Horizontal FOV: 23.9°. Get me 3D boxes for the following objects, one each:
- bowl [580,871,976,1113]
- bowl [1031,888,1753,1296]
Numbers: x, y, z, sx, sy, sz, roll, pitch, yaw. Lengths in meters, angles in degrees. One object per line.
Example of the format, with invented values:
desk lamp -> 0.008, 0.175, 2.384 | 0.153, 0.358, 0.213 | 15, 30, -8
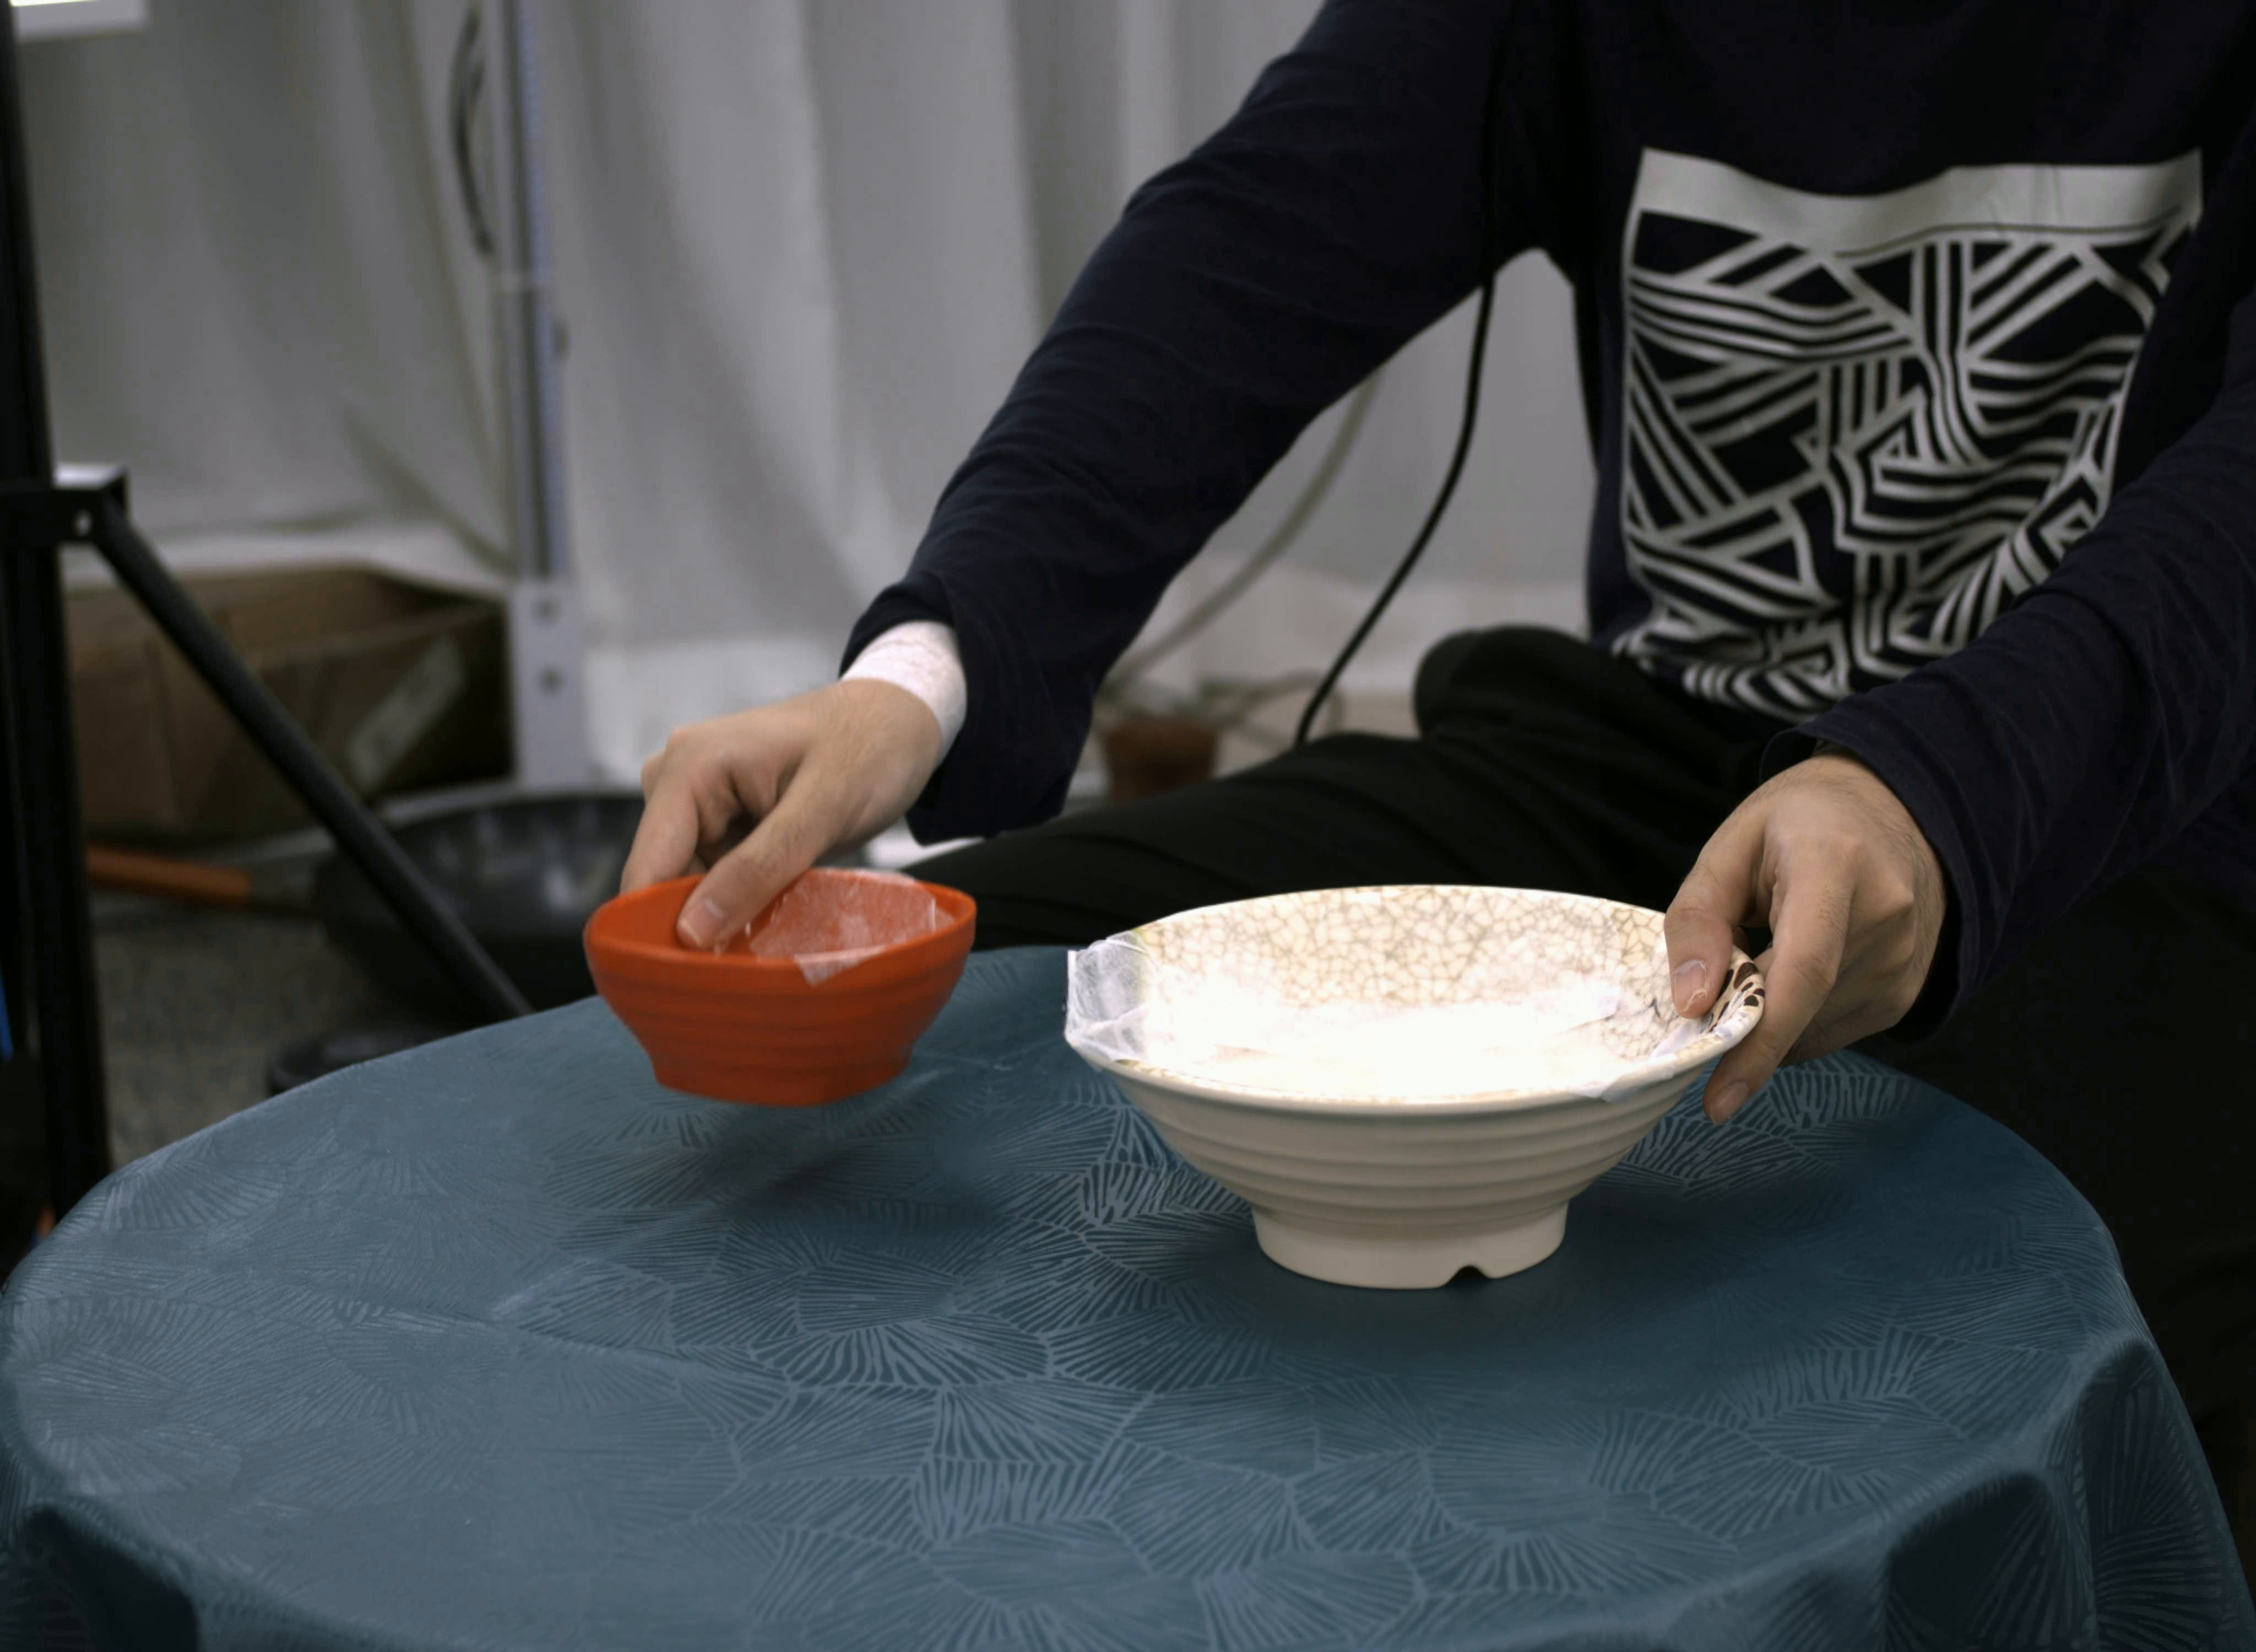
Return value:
bowl -> -0.102, 0.051, 1.583 | 0.118, 0.051, 0.119 | -3, 13, -1
bowl -> 0.073, 0.082, 1.505 | 0.203, 0.078, 0.205 | 1, 15, -2
